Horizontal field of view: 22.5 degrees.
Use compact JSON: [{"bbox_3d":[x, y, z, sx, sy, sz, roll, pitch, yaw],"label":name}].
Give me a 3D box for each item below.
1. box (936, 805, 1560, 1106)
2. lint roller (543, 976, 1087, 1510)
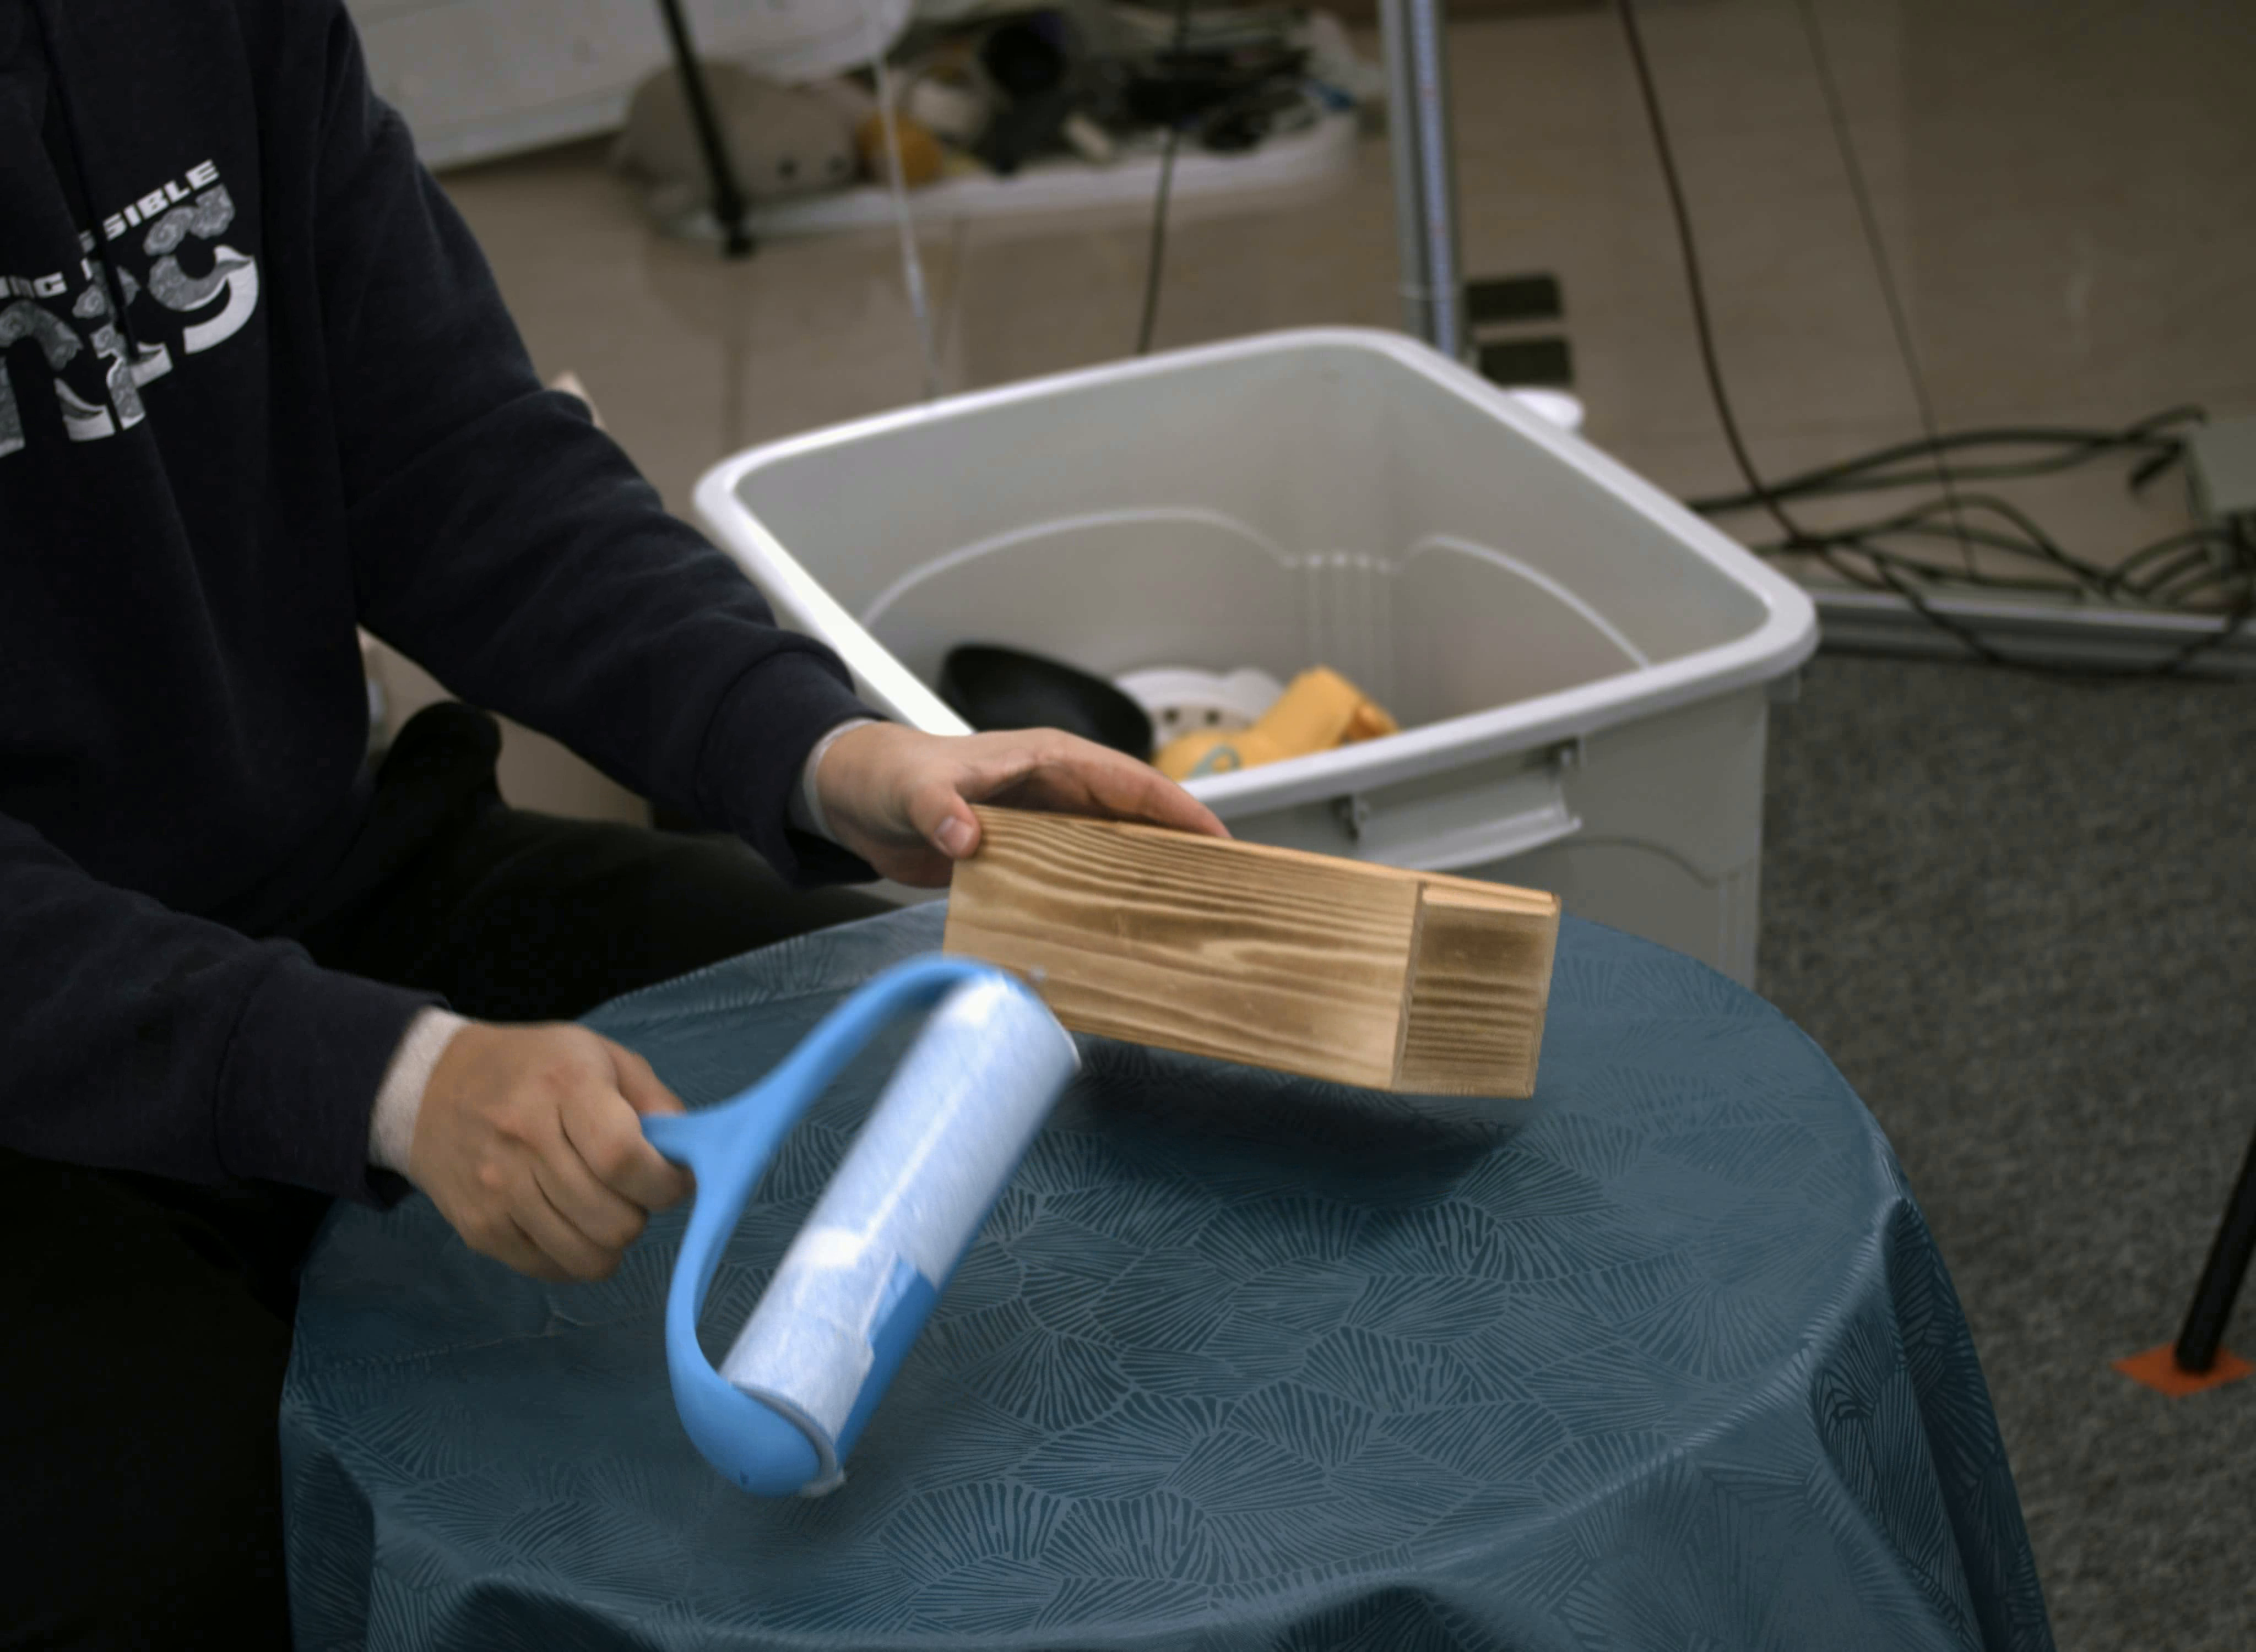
[{"bbox_3d":[0.045,0.049,2.175,0.210,0.080,0.107,10,3,33],"label":"box"},{"bbox_3d":[-0.134,0.134,1.998,0.179,0.069,0.225,13,51,21],"label":"lint roller"}]
